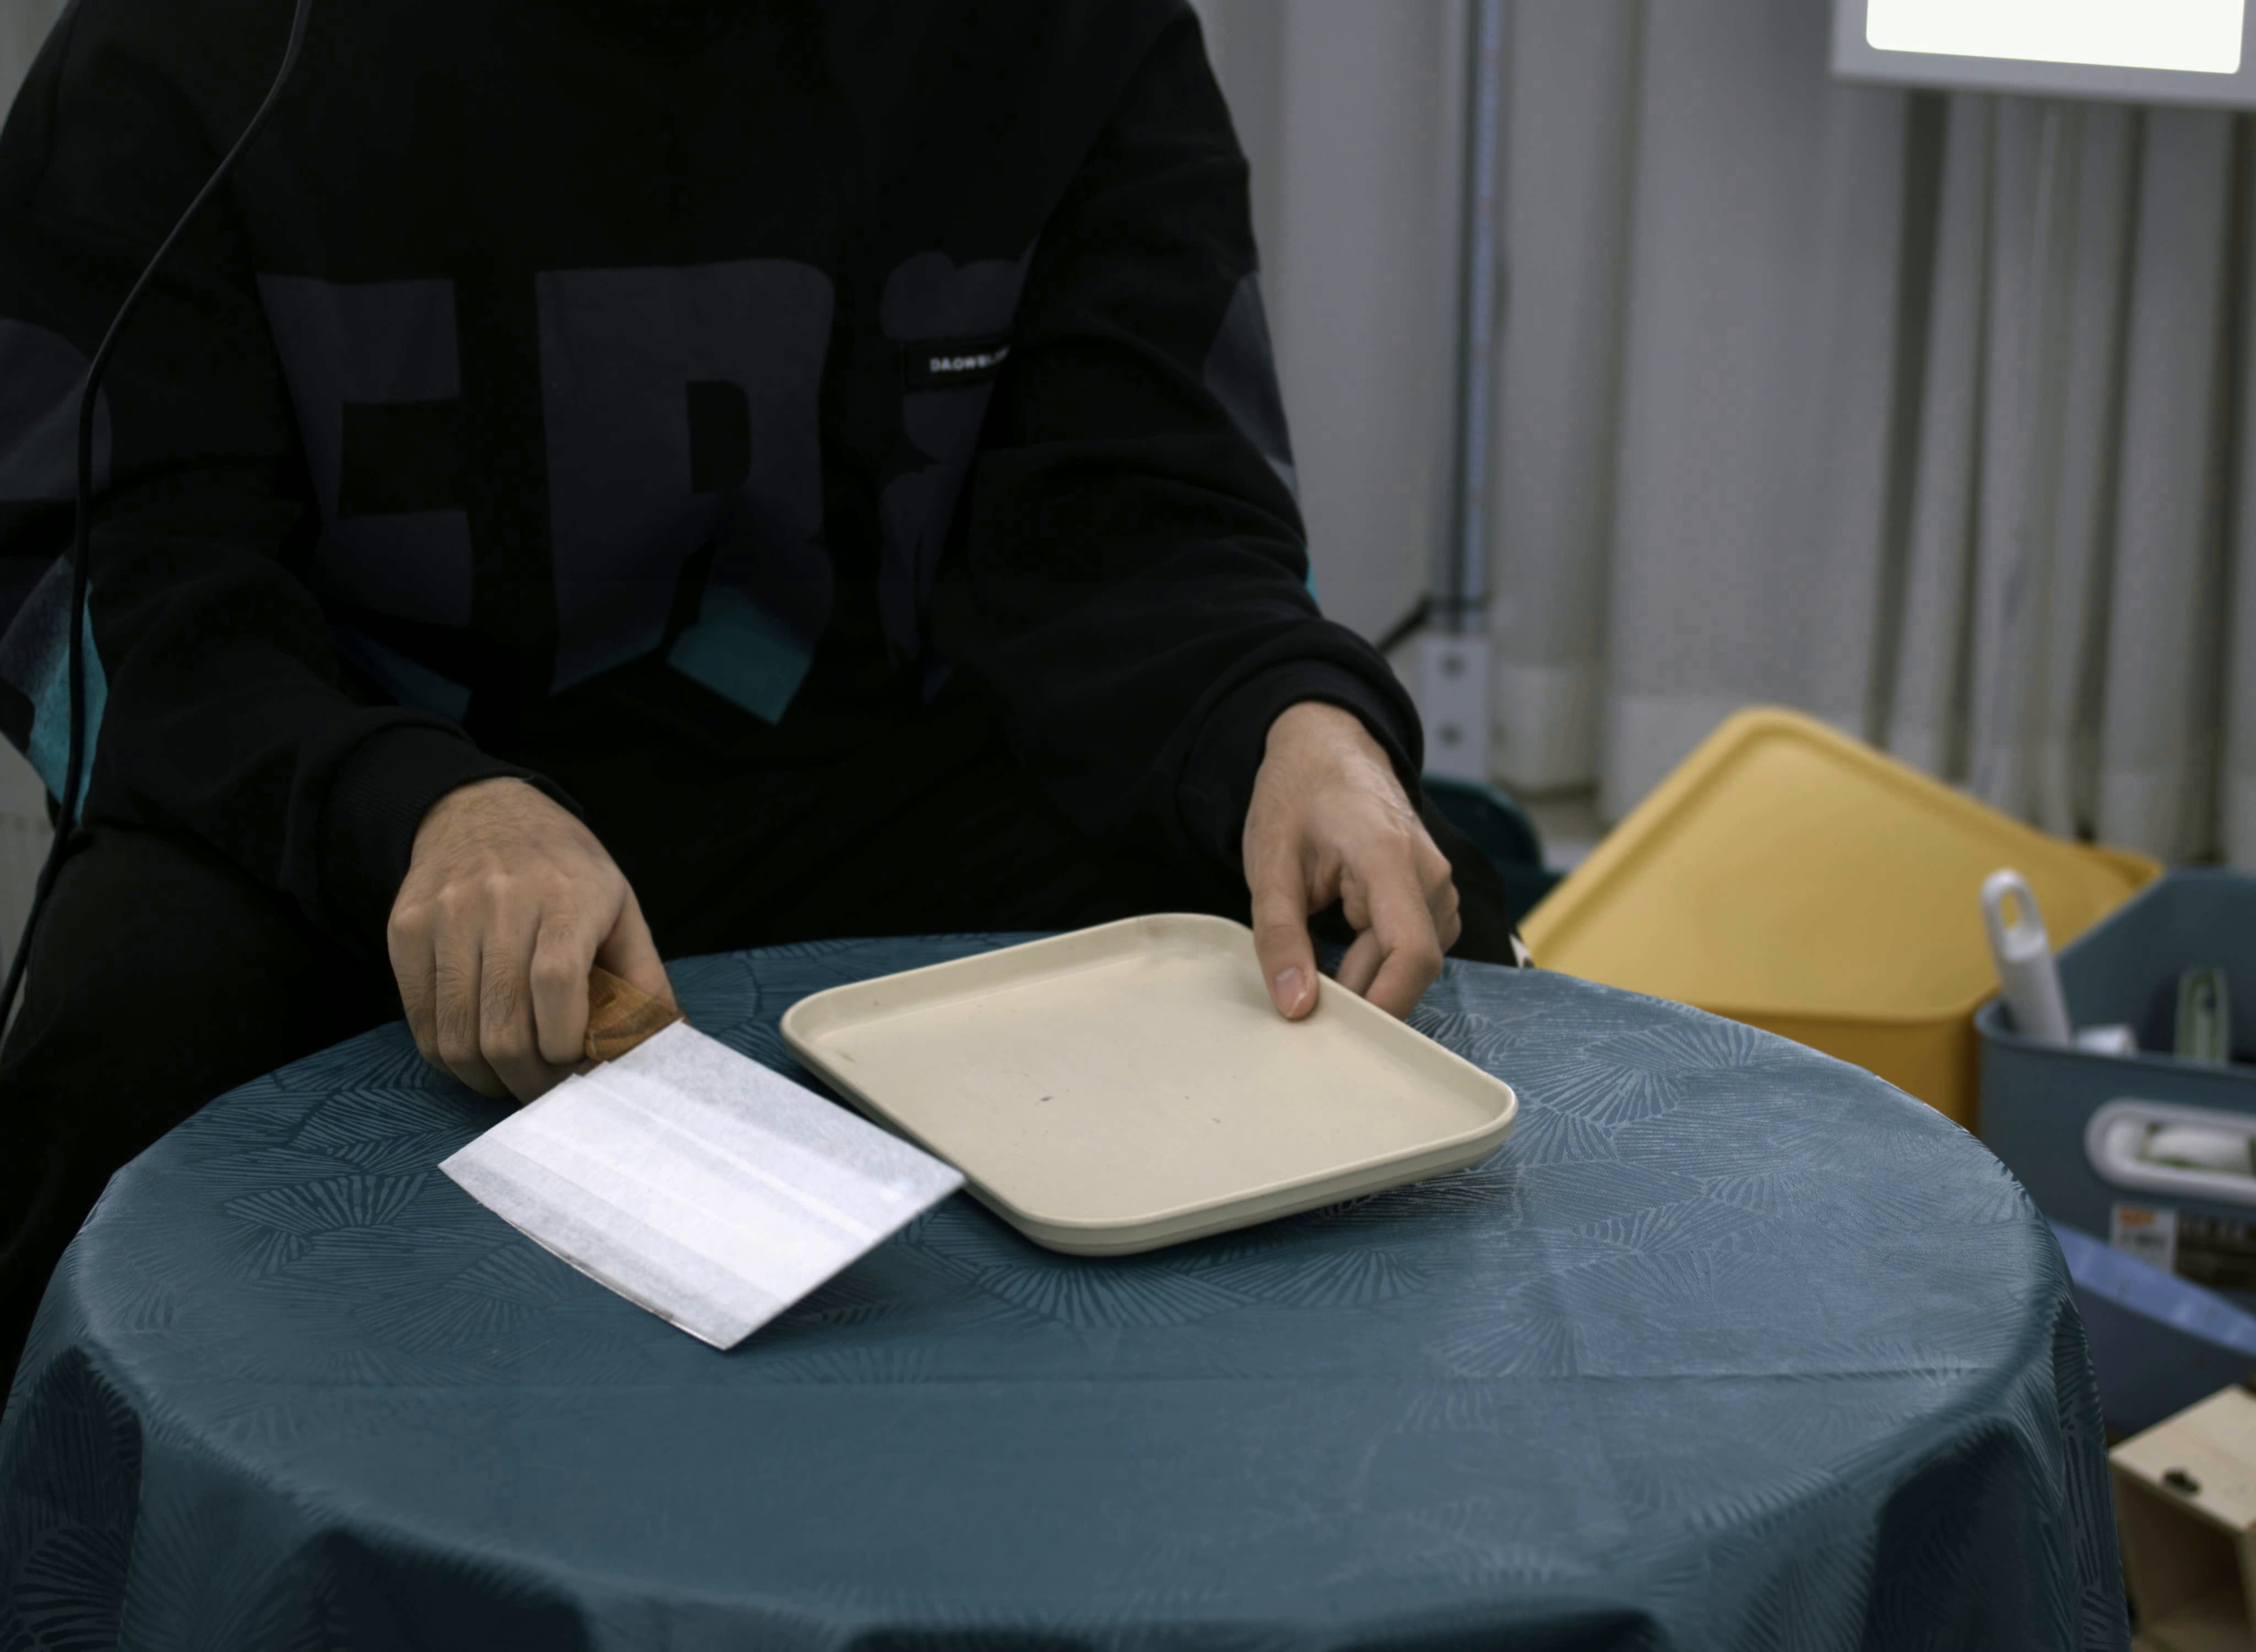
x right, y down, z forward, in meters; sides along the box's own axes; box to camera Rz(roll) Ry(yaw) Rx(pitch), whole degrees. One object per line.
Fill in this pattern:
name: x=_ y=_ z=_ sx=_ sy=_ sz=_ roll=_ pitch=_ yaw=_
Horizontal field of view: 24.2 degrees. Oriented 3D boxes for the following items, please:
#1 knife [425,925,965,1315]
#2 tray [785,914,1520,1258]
knife: x=-0.159 y=0.091 z=1.623 sx=0.093 sy=0.021 sz=0.302 roll=-34 pitch=29 yaw=-22
tray: x=0.005 y=0.081 z=1.676 sx=0.172 sy=0.017 sz=0.237 roll=-13 pitch=20 yaw=-23
